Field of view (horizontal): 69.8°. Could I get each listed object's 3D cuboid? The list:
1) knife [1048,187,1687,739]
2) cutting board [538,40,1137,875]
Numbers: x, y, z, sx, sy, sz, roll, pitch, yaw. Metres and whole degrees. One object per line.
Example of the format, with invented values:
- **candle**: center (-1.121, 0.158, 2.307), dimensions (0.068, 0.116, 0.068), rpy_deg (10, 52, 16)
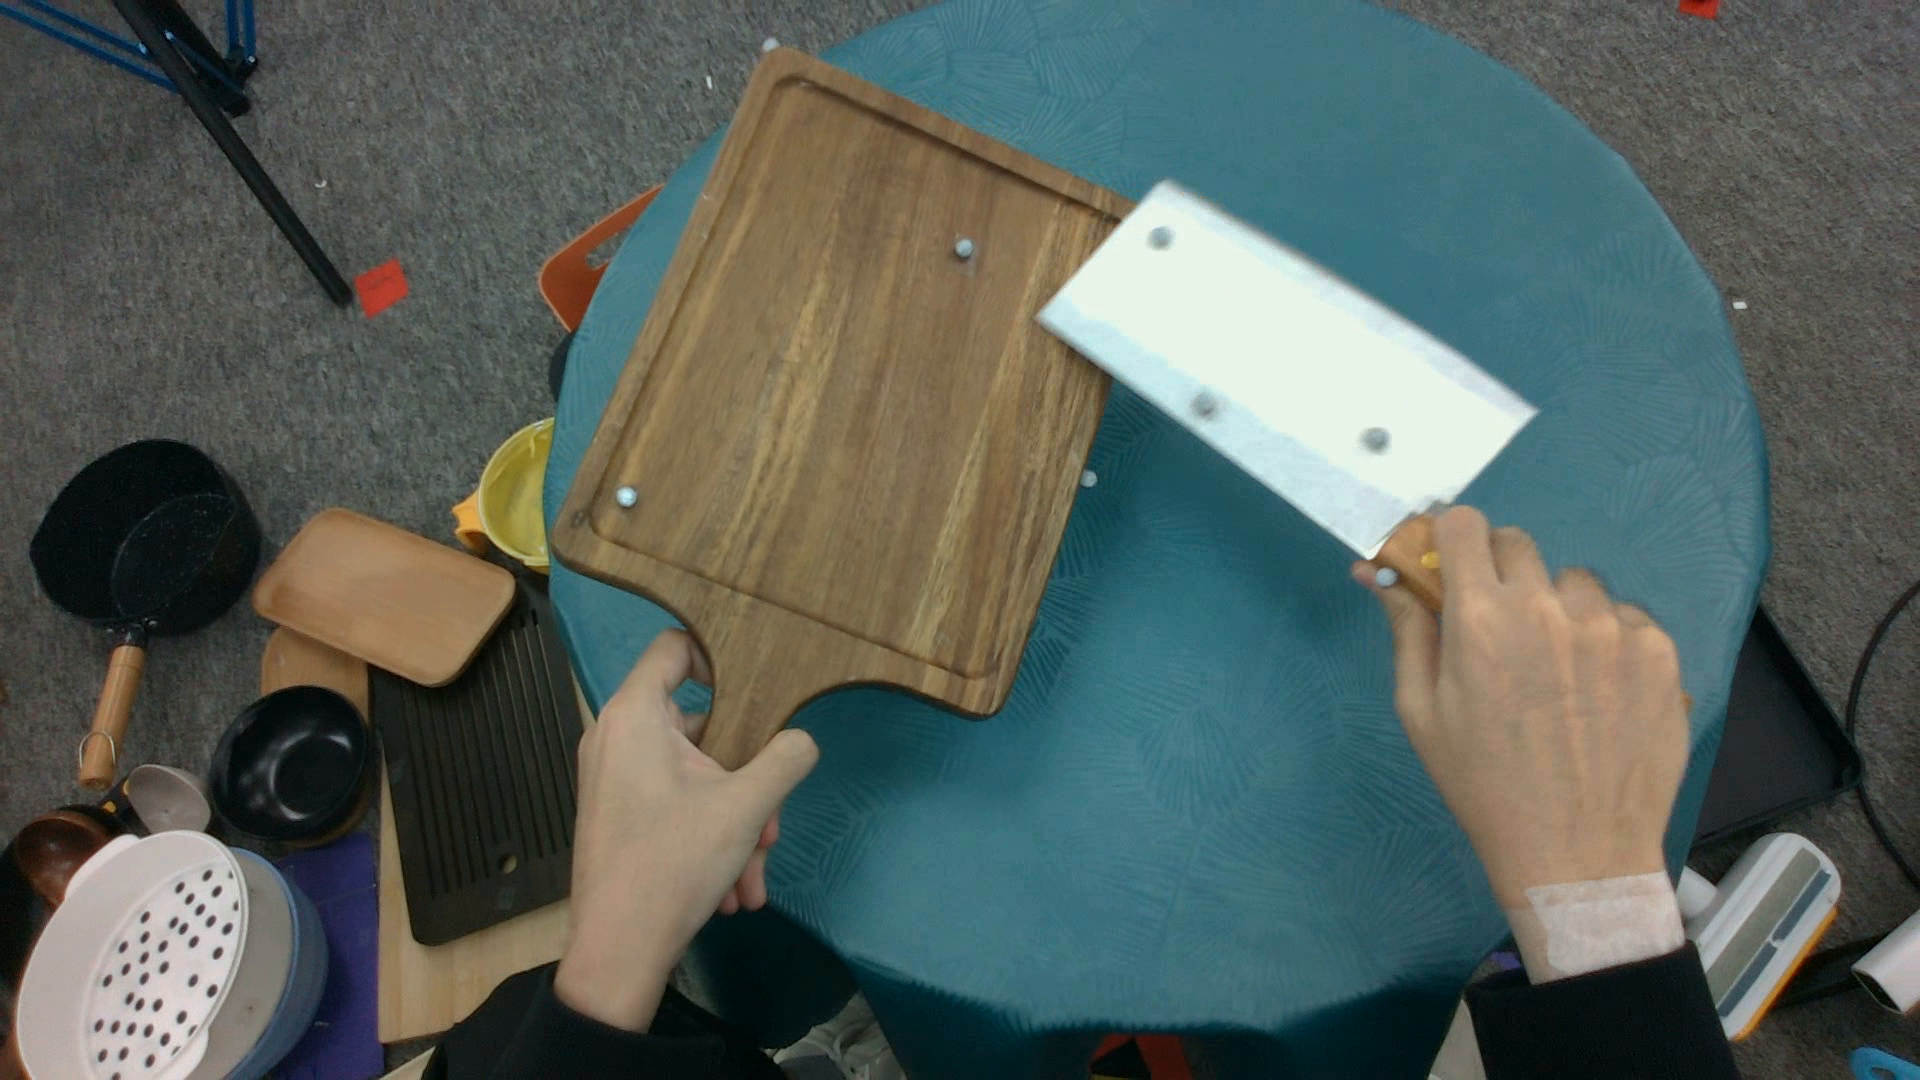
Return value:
- **knife**: center (0.167, -0.049, 0.556), dimensions (0.093, 0.021, 0.306), rpy_deg (-46, 65, -4)
- **cutting board**: center (-0.057, -0.033, 0.581), dimensions (0.201, 0.023, 0.353), rpy_deg (21, 72, -8)
